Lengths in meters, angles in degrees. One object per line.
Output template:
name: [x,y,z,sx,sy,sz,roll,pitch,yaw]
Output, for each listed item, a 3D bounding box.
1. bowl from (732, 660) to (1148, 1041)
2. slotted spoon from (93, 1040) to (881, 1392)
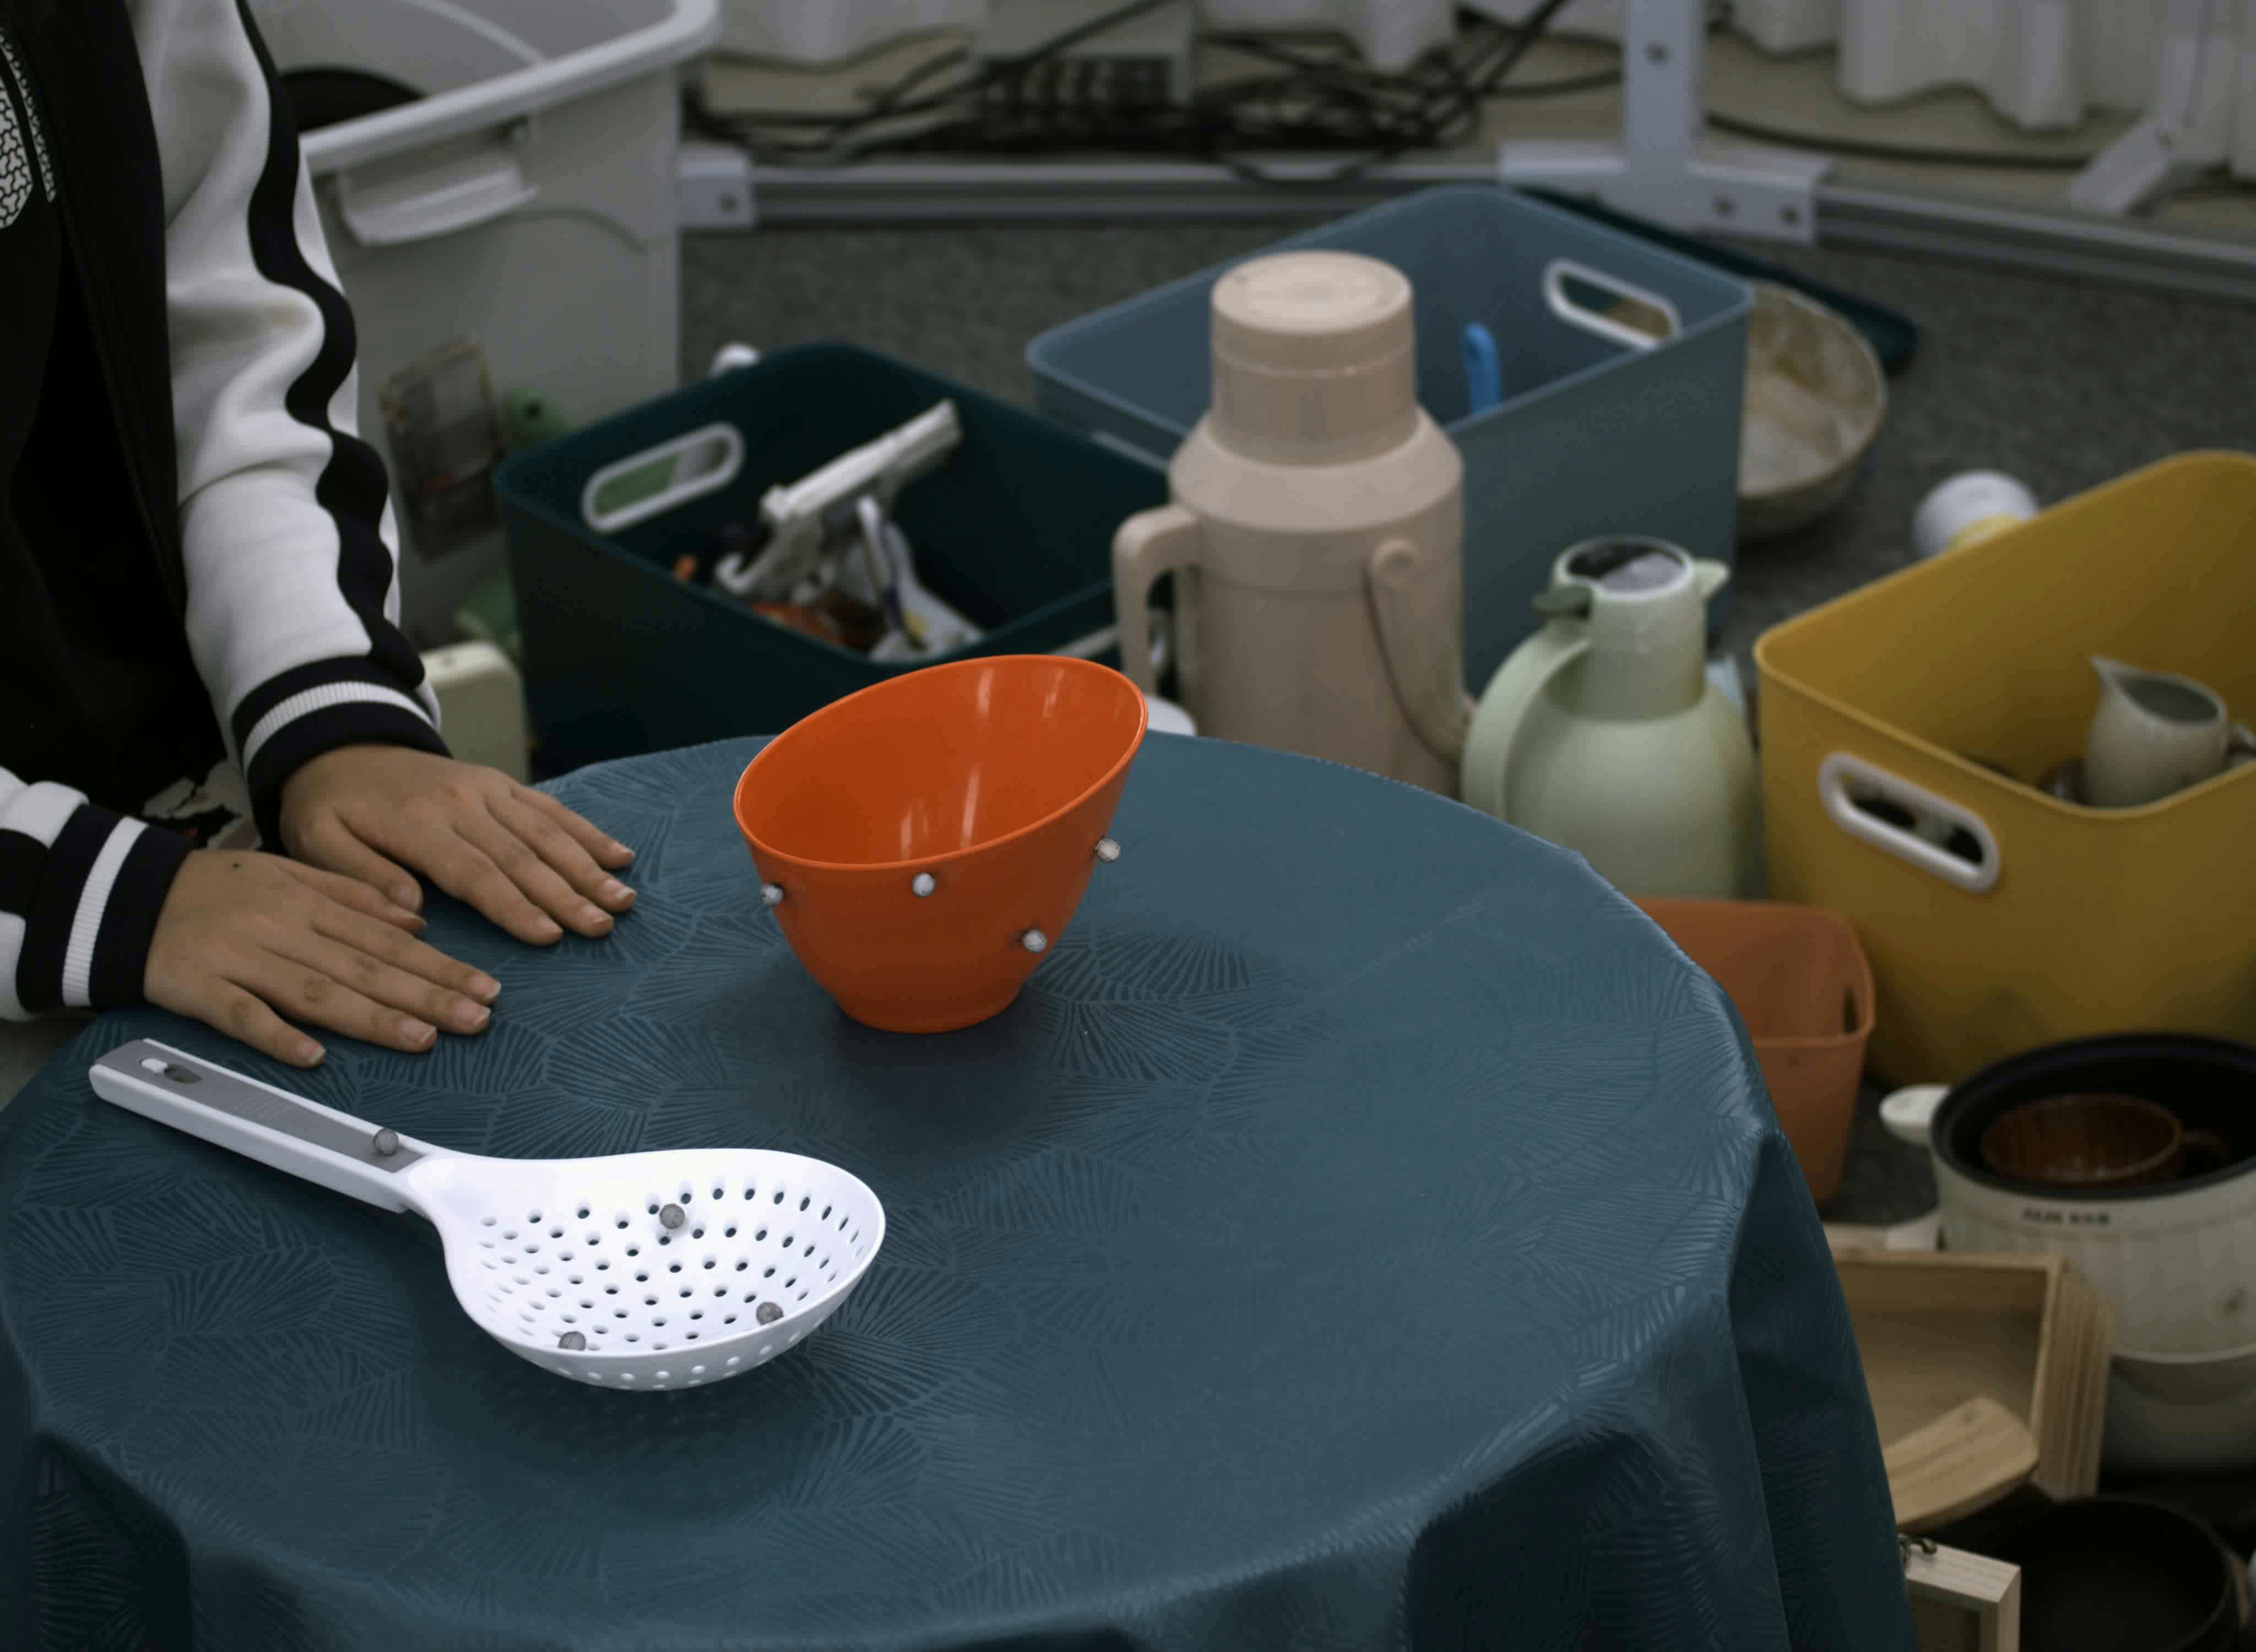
bowl: [-0.062,0.014,1.968,0.147,0.103,0.150,-3,28,2]
slotted spoon: [-0.223,0.120,1.839,0.349,0.045,0.138,20,34,38]
